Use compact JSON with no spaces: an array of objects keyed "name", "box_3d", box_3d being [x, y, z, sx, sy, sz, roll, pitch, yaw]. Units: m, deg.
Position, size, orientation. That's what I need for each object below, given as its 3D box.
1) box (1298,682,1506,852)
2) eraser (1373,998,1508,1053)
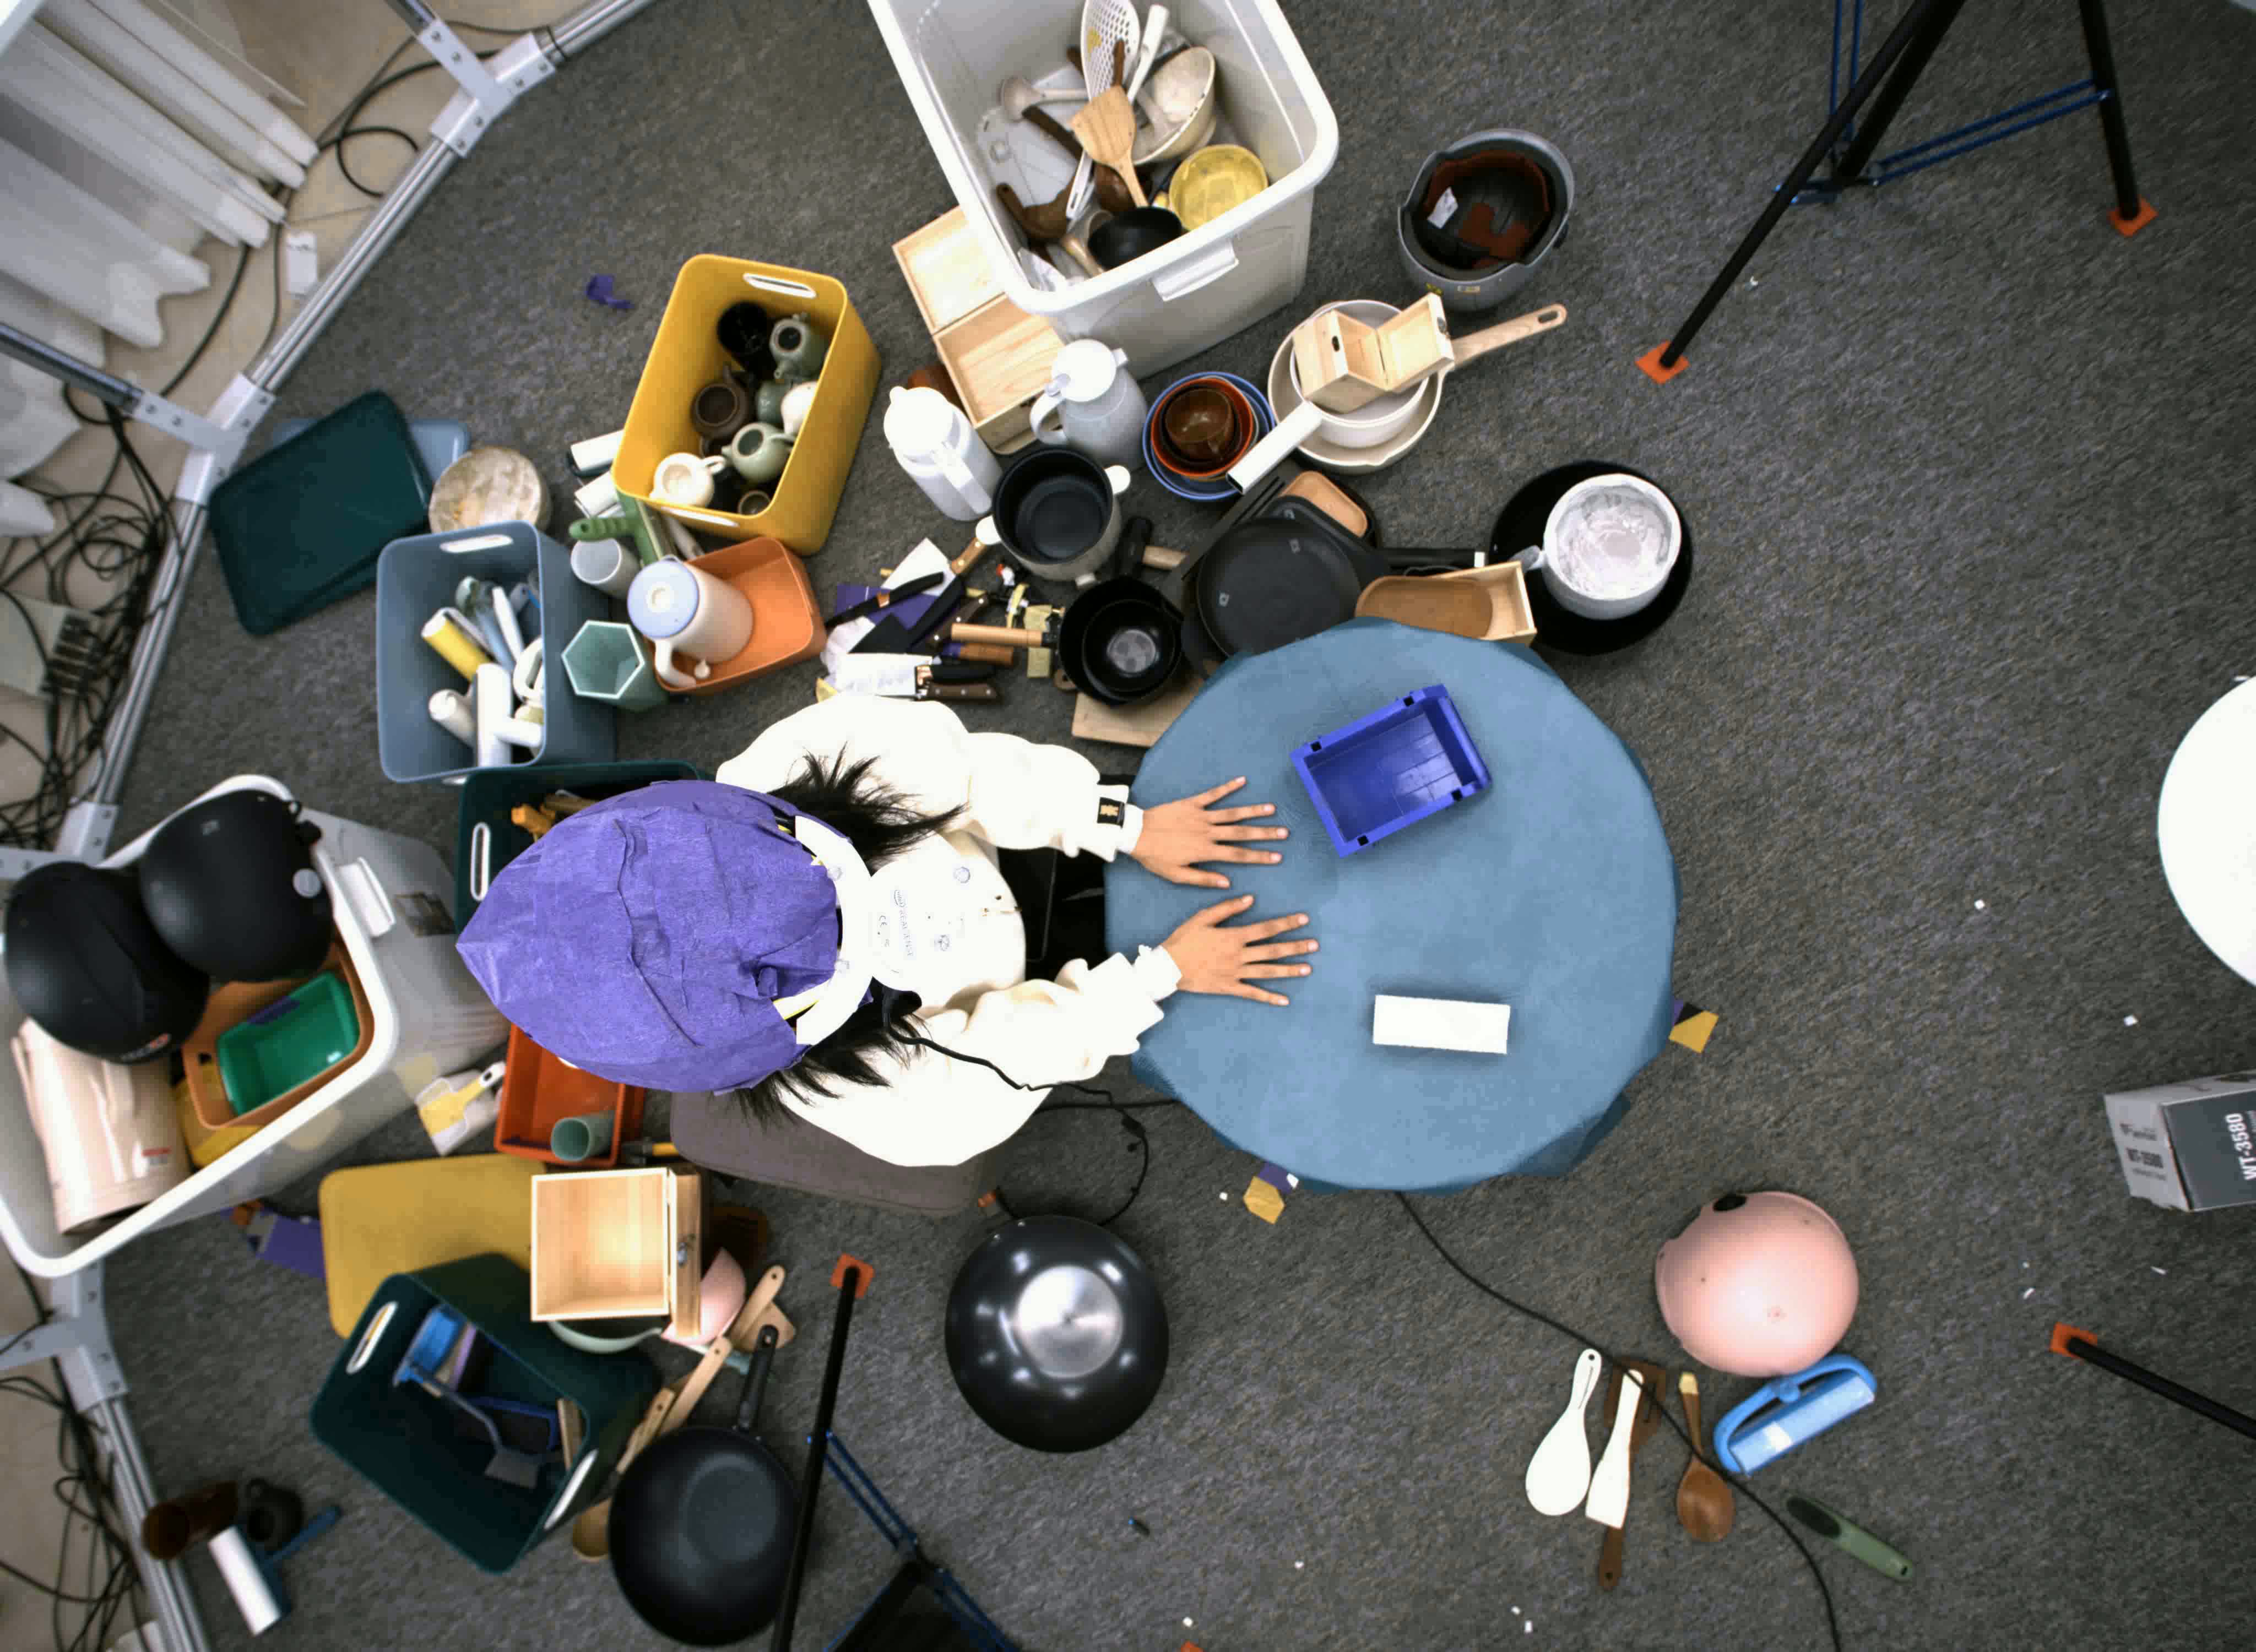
[{"name":"box","box_3d":[0.284,-0.064,1.424,0.180,0.082,0.123,-25,82,10]},{"name":"eraser","box_3d":[0.321,0.203,1.419,0.135,0.046,0.049,1,88,9]}]
